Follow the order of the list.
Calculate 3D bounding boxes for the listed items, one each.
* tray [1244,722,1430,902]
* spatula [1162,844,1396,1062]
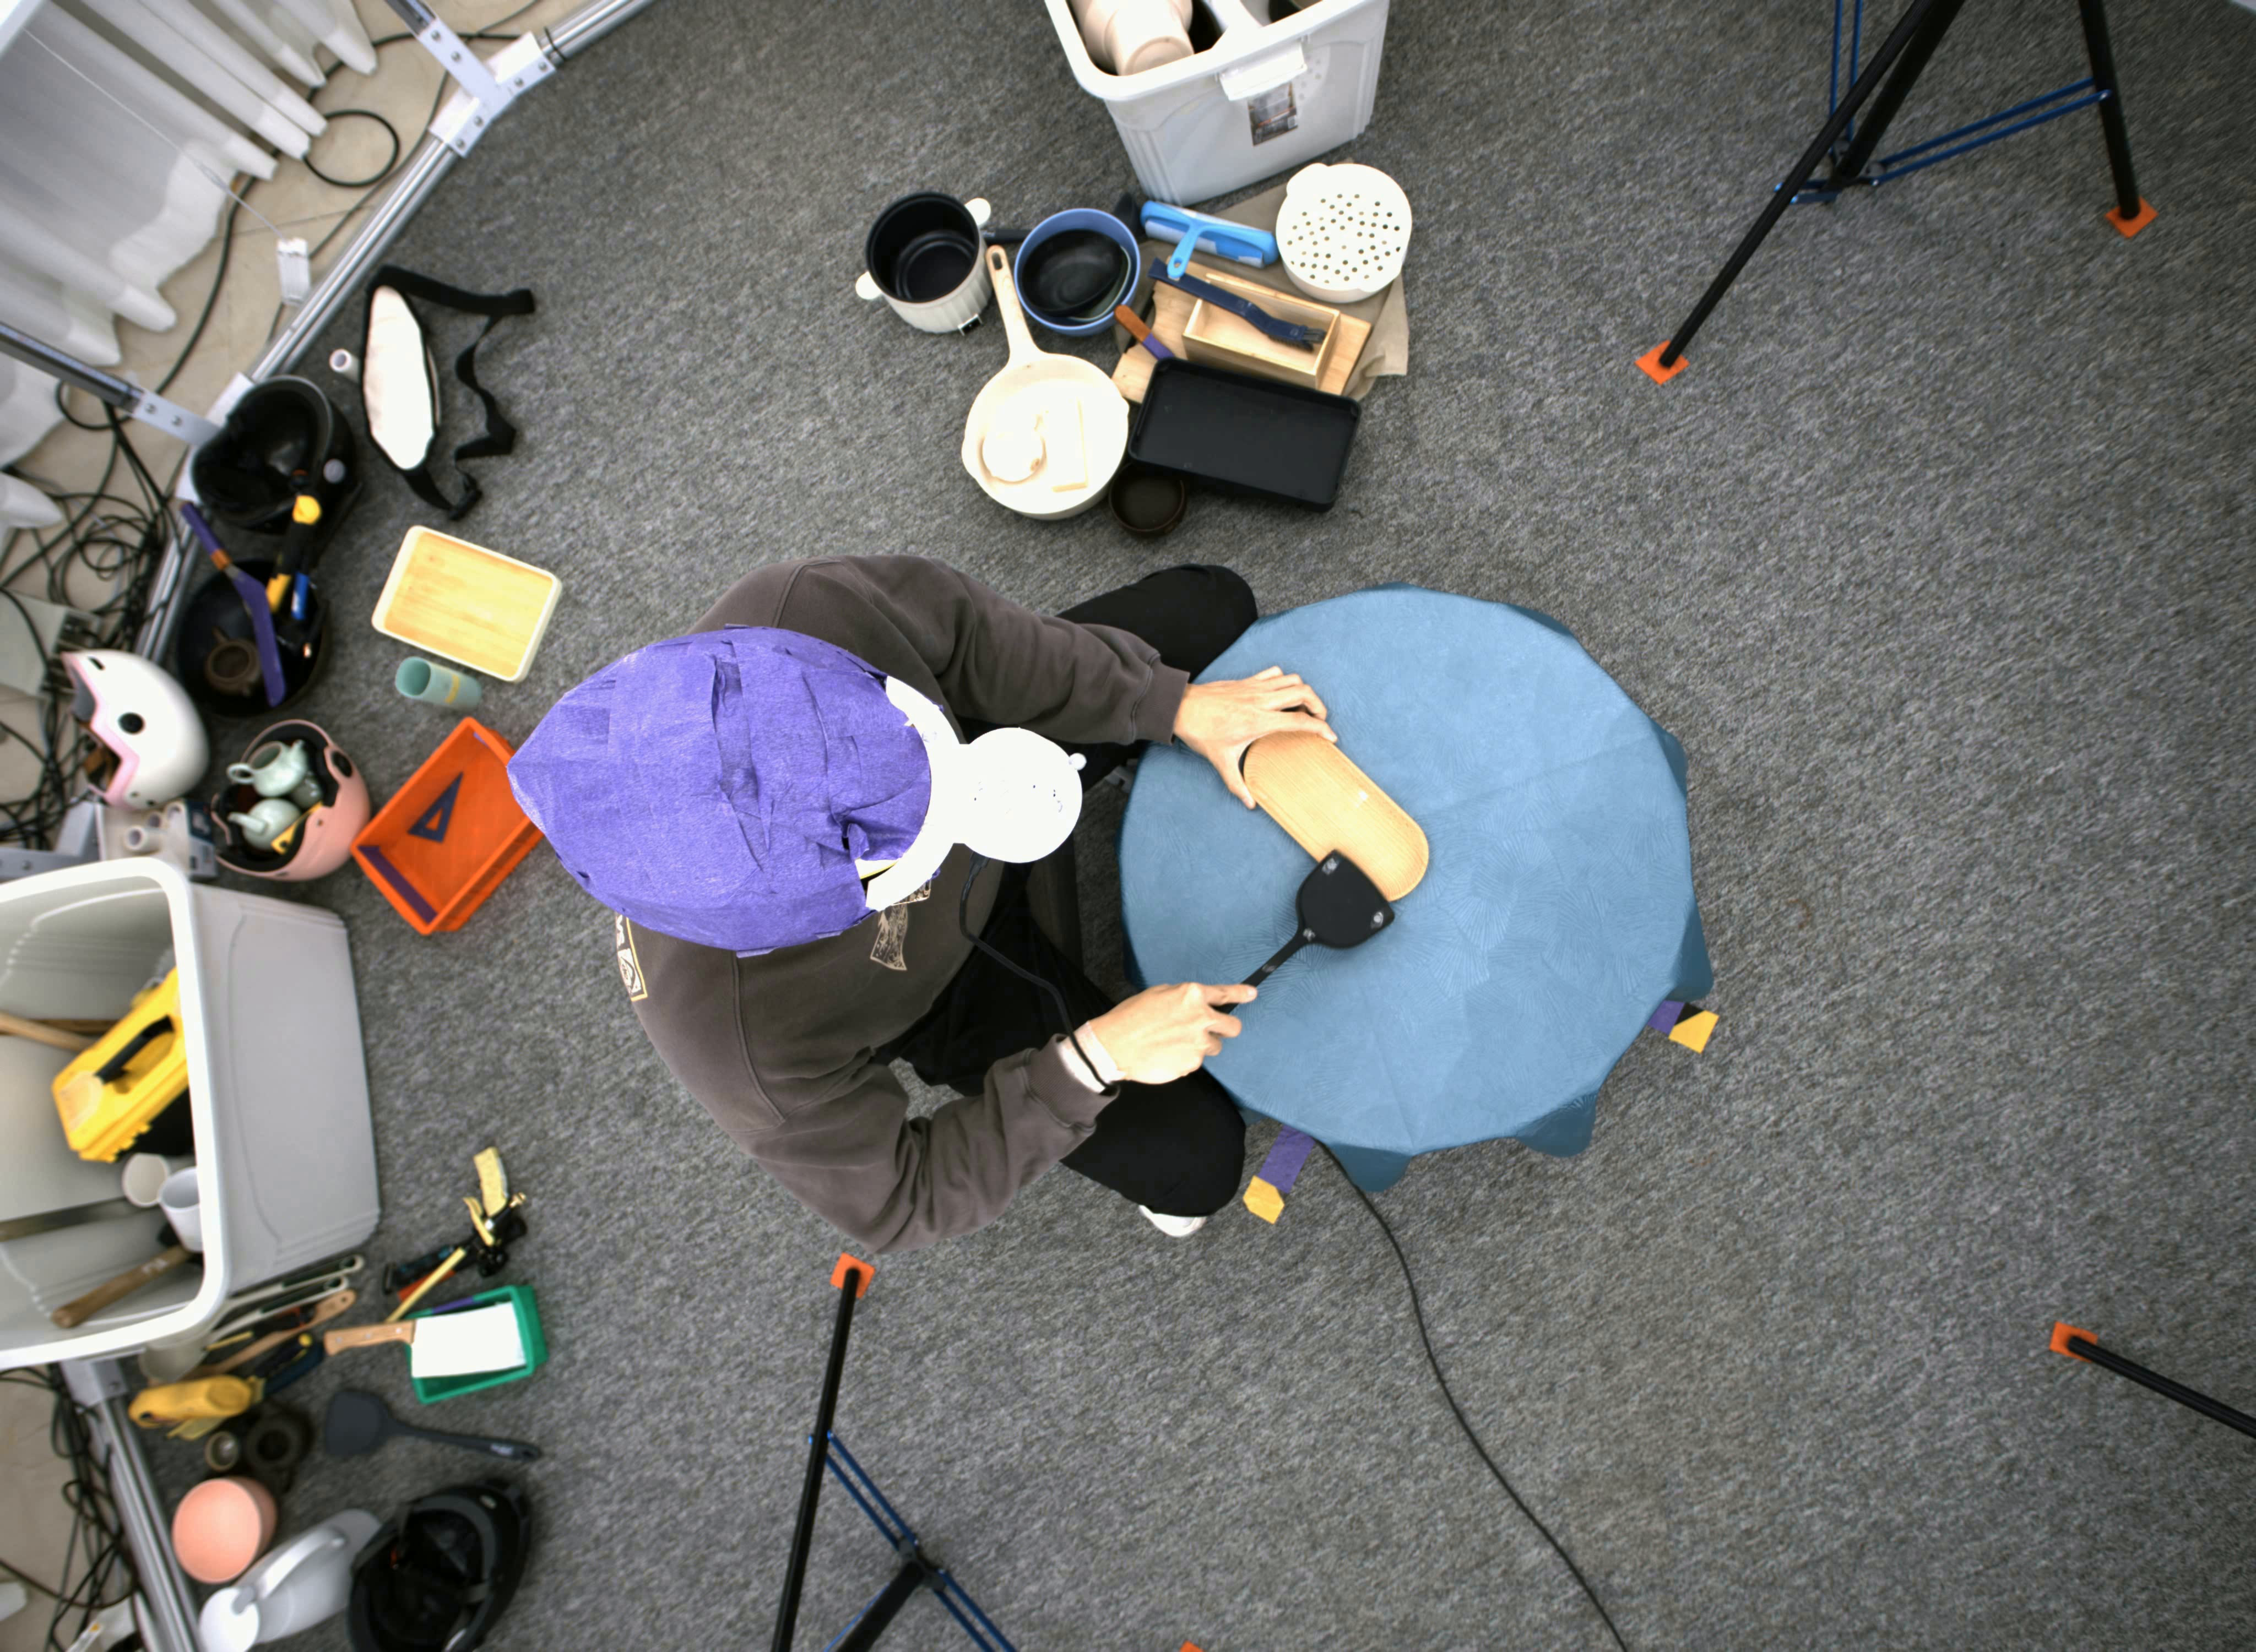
[{"bbox_3d":[0.220,-0.016,1.462,0.230,0.020,0.102,45,97,8],"label":"tray"},{"bbox_3d":[0.142,0.131,1.355,0.099,0.041,0.319,48,53,7],"label":"spatula"}]
